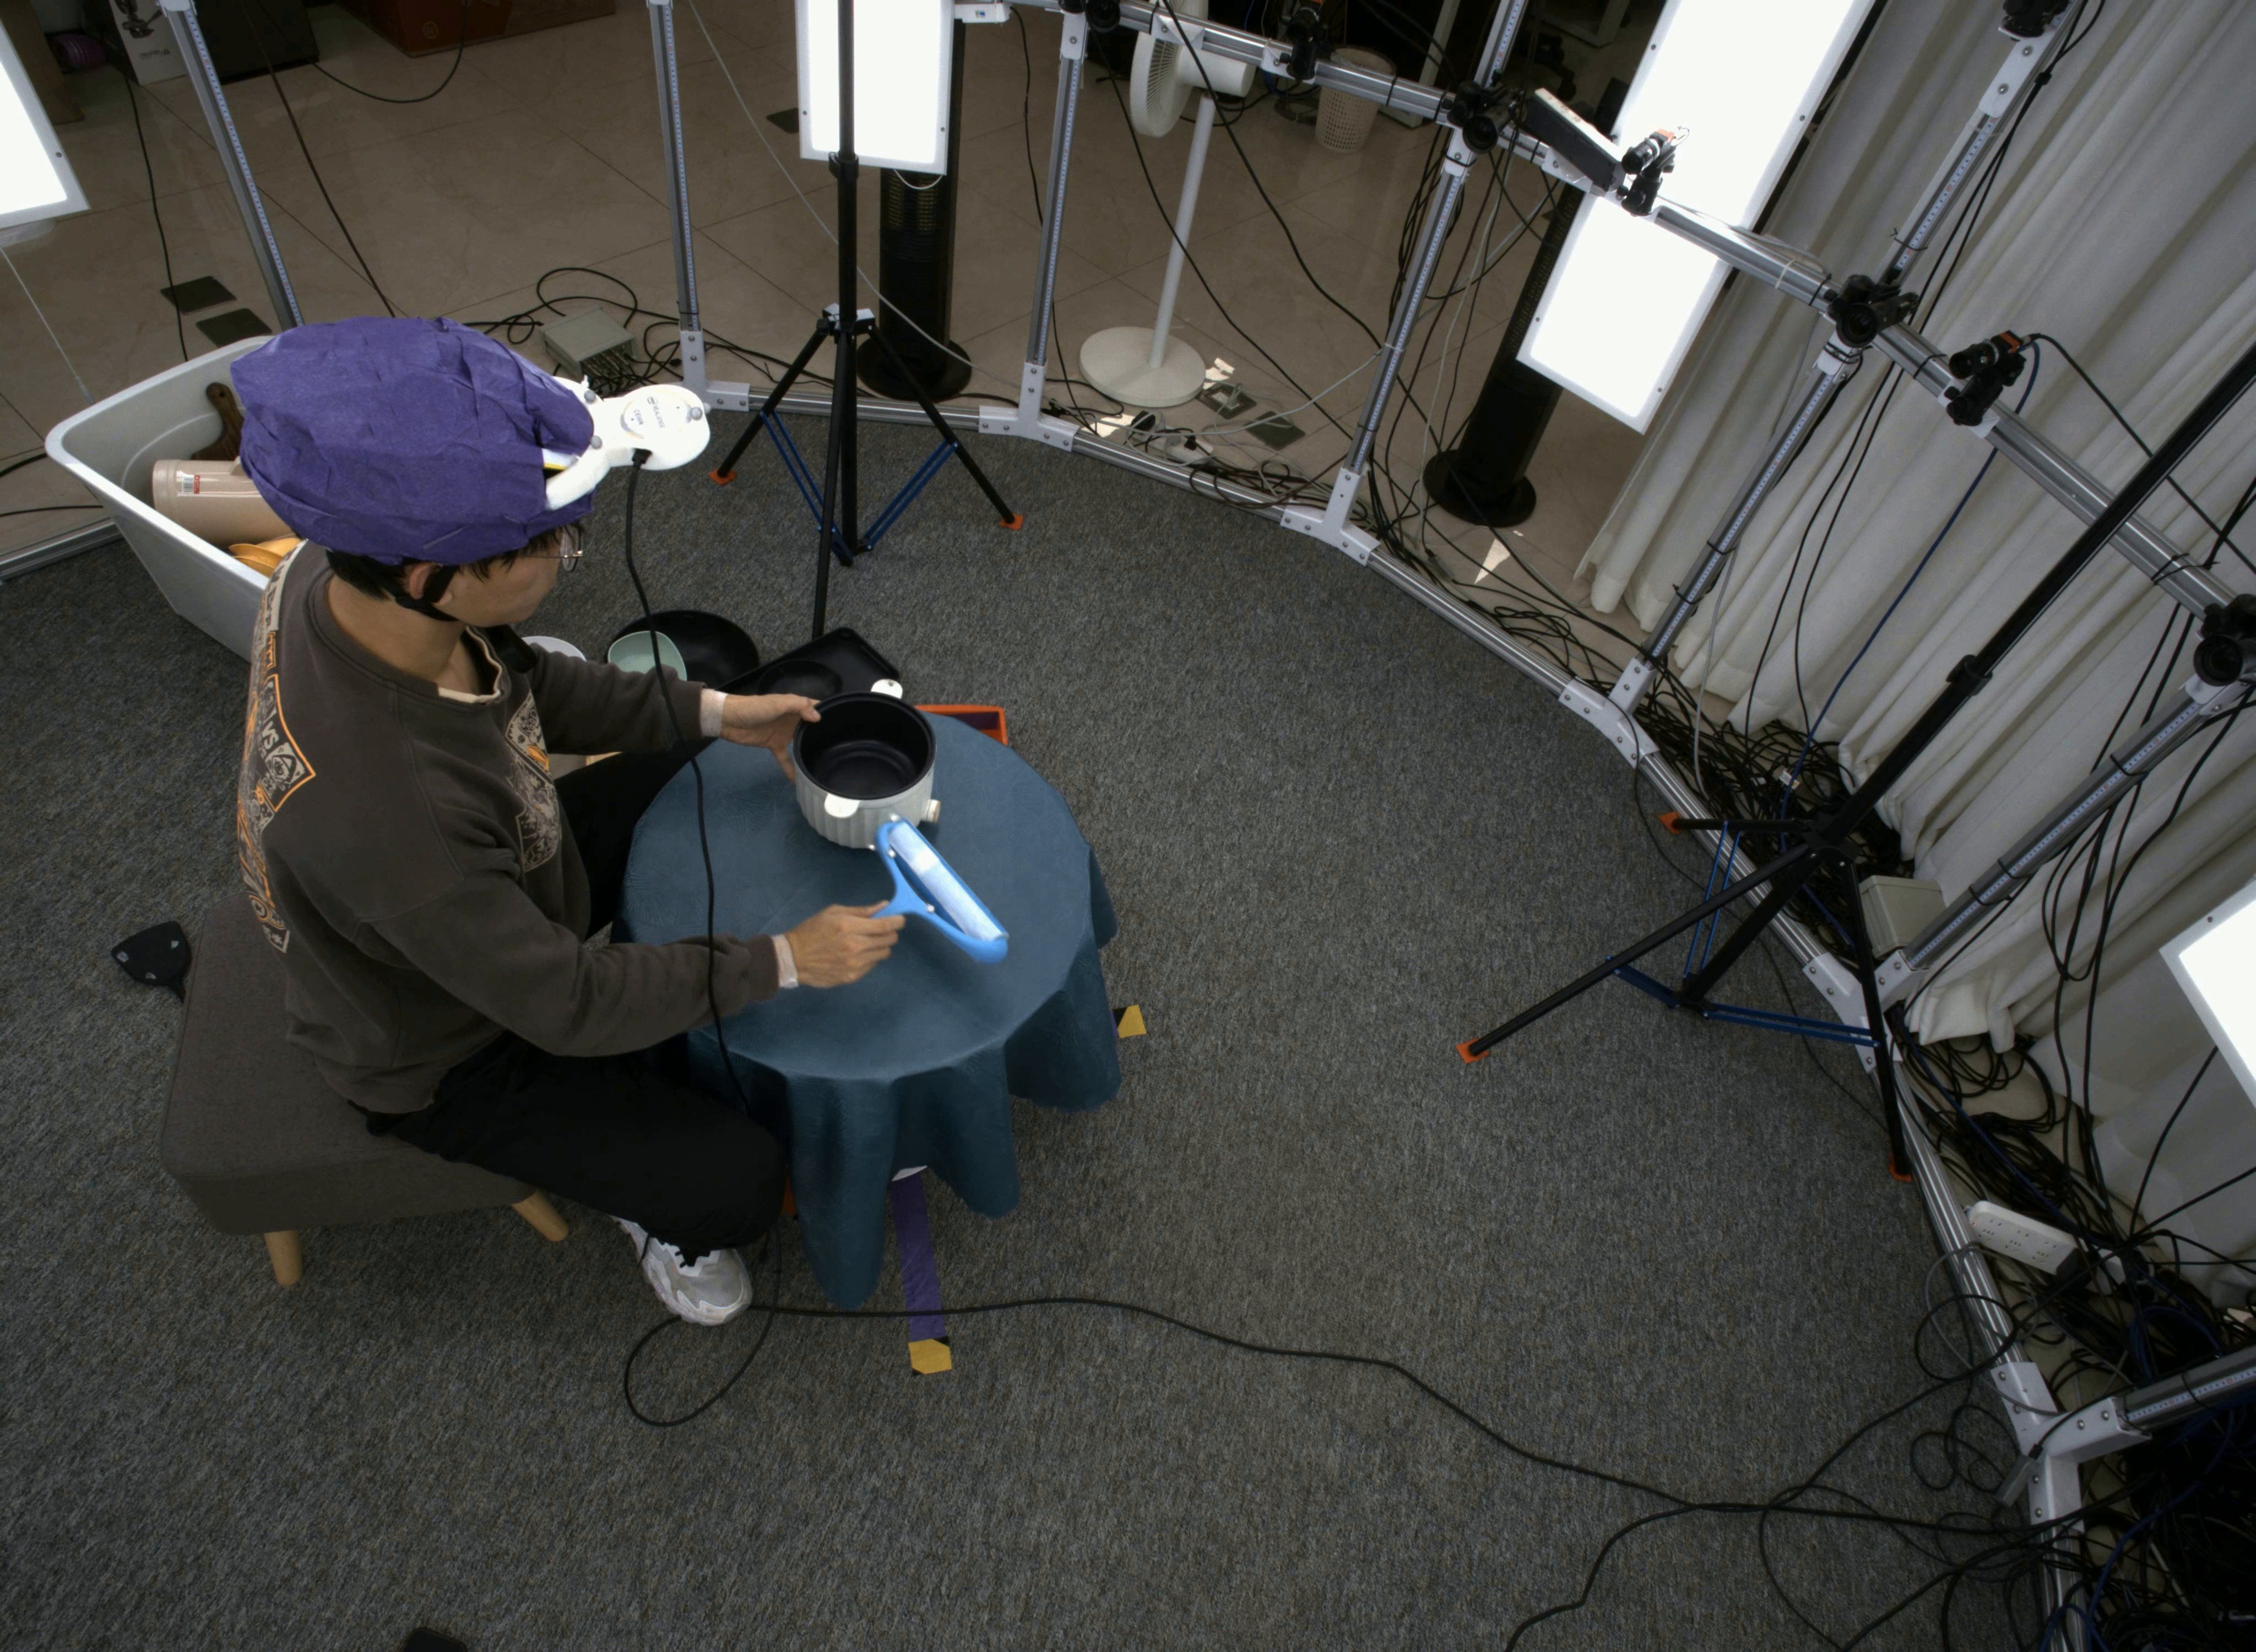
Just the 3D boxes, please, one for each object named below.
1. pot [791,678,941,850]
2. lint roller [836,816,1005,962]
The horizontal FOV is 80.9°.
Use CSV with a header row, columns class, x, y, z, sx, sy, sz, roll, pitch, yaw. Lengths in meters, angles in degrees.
class,x,y,z,sx,sy,sz,roll,pitch,yaw
pot,-0.343,-0.066,1.717,0.188,0.146,0.237,11,53,0
lint roller,-0.271,0.100,1.565,0.226,0.068,0.181,46,53,11
